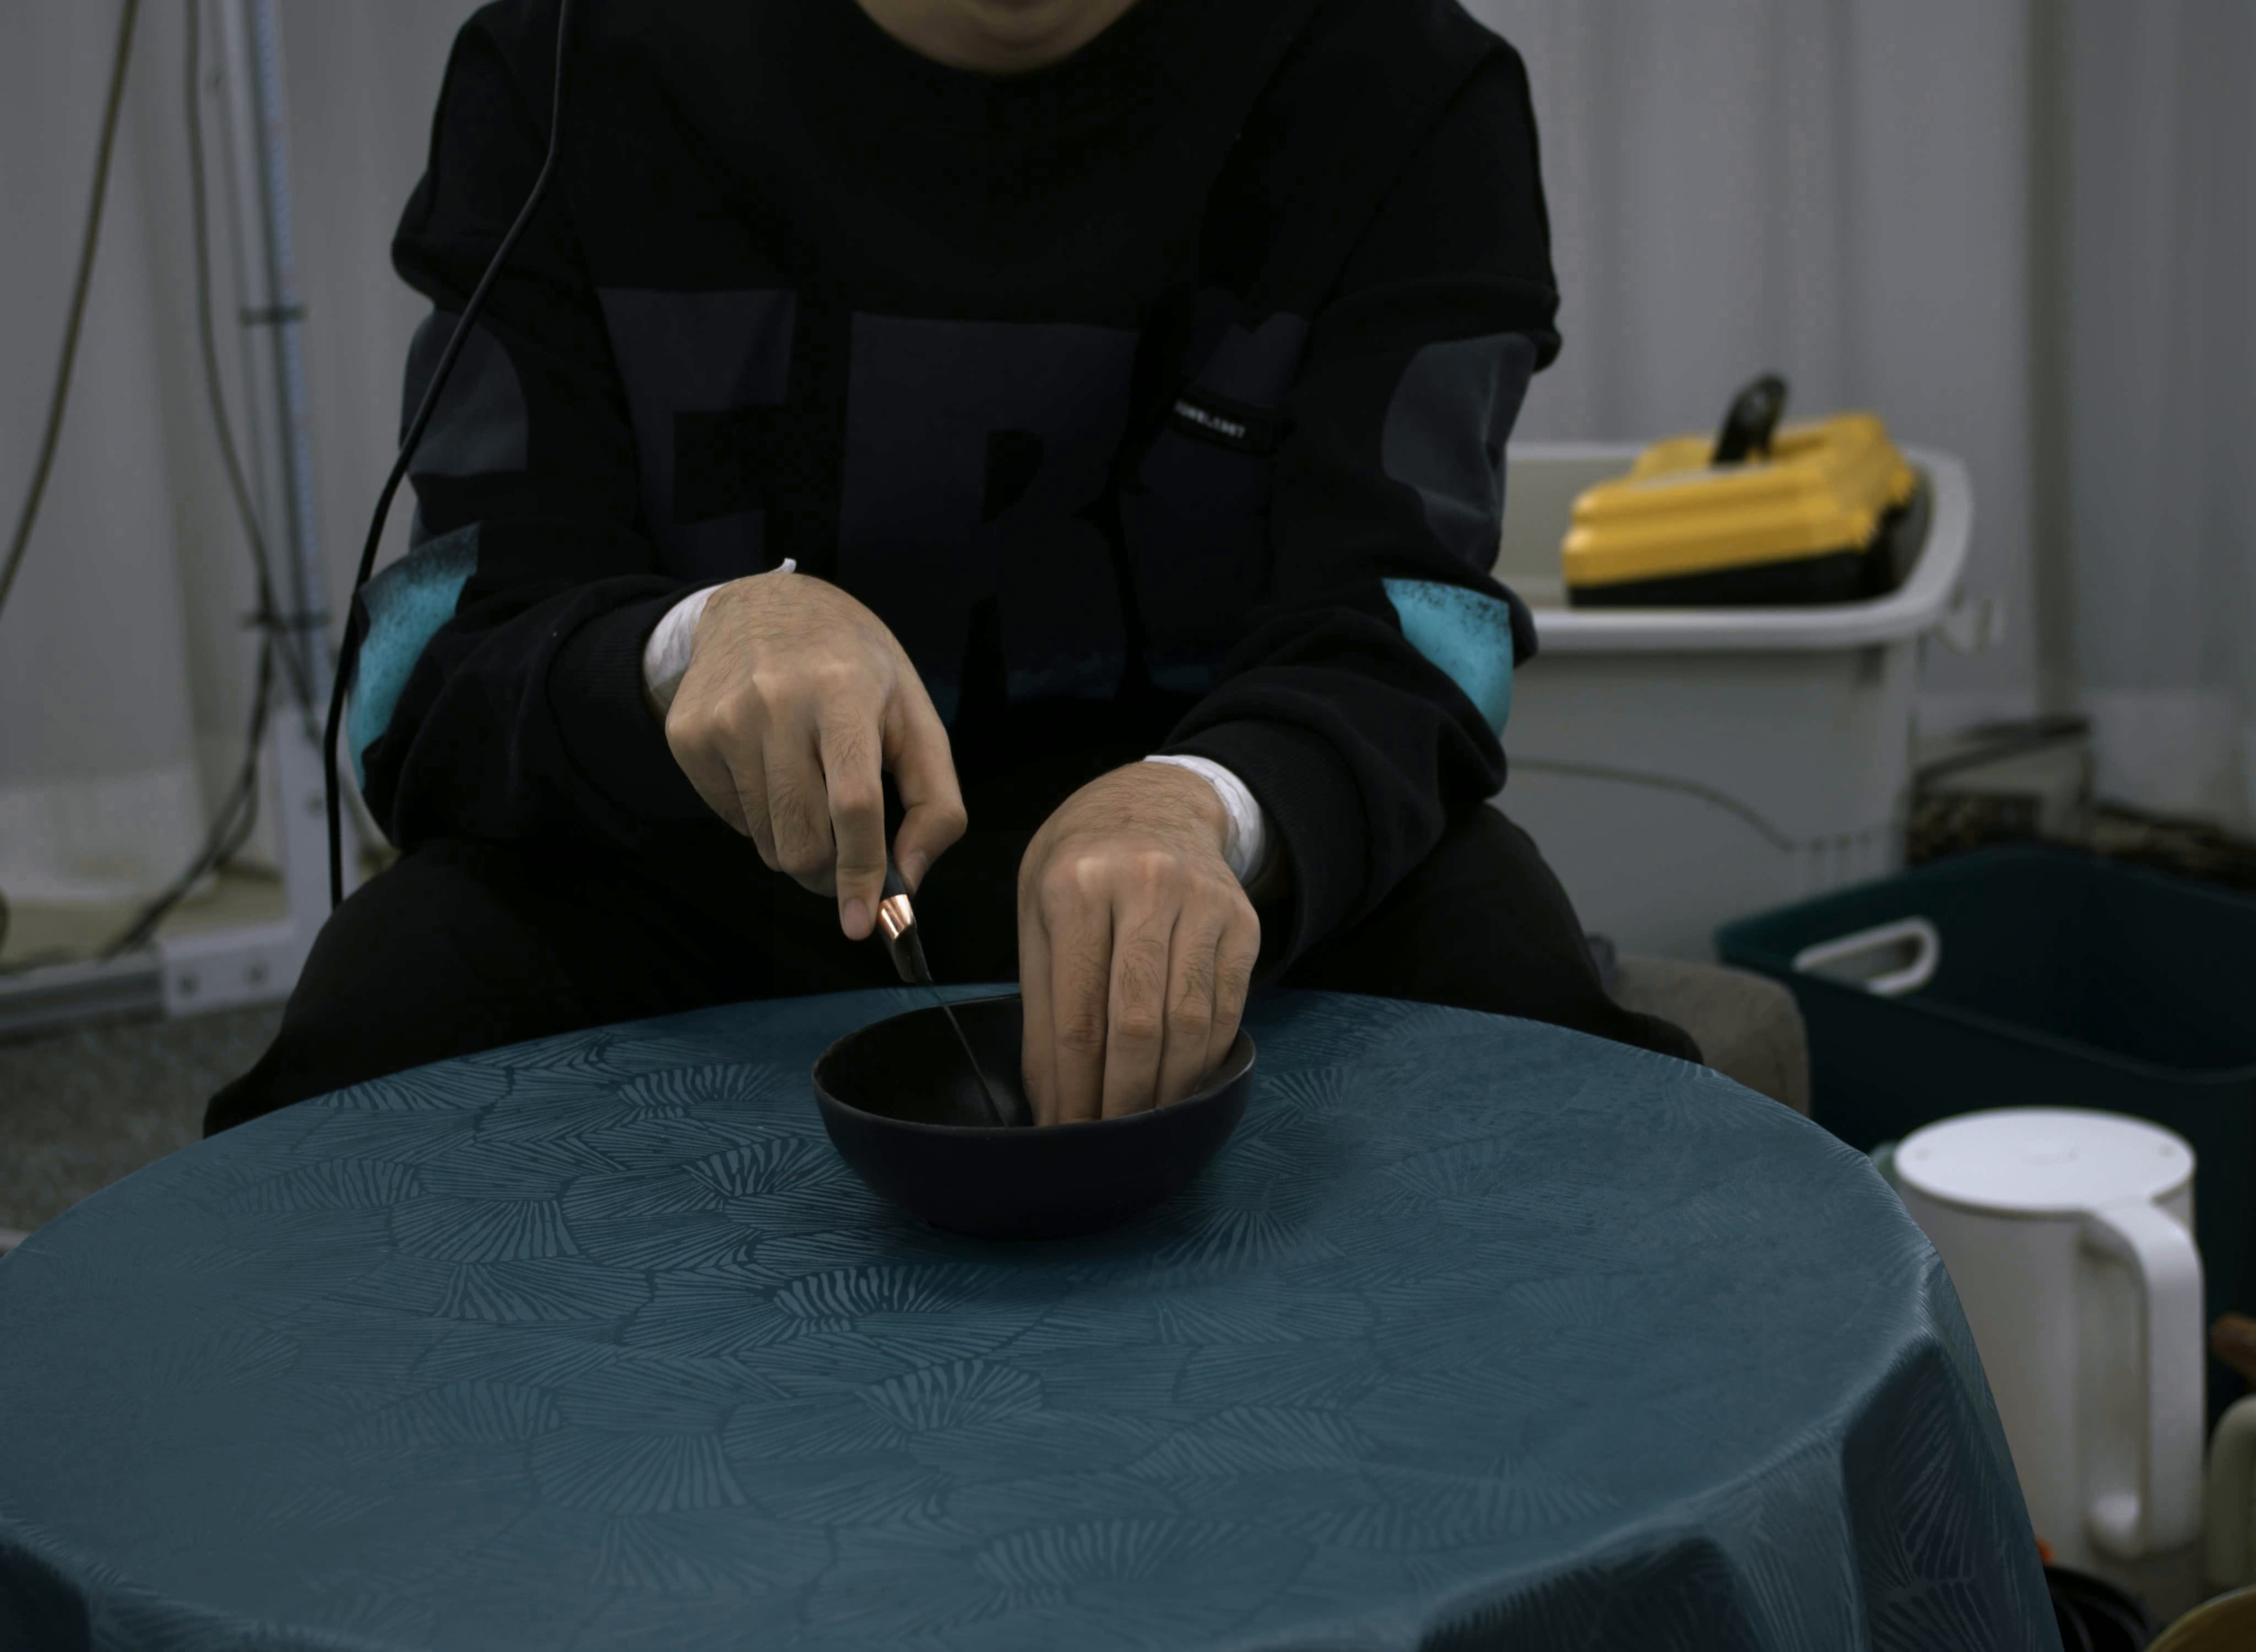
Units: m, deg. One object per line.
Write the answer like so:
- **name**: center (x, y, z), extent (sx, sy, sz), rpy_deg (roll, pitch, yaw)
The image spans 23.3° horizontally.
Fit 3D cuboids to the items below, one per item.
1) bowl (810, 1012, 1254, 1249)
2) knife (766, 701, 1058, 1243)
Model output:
- **bowl**: center (-0.028, 0.098, 1.699), extent (0.139, 0.049, 0.141), rpy_deg (-5, 11, 1)
- **knife**: center (-0.068, 0.044, 1.746), extent (0.017, 0.026, 0.229), rpy_deg (-17, 52, -17)
